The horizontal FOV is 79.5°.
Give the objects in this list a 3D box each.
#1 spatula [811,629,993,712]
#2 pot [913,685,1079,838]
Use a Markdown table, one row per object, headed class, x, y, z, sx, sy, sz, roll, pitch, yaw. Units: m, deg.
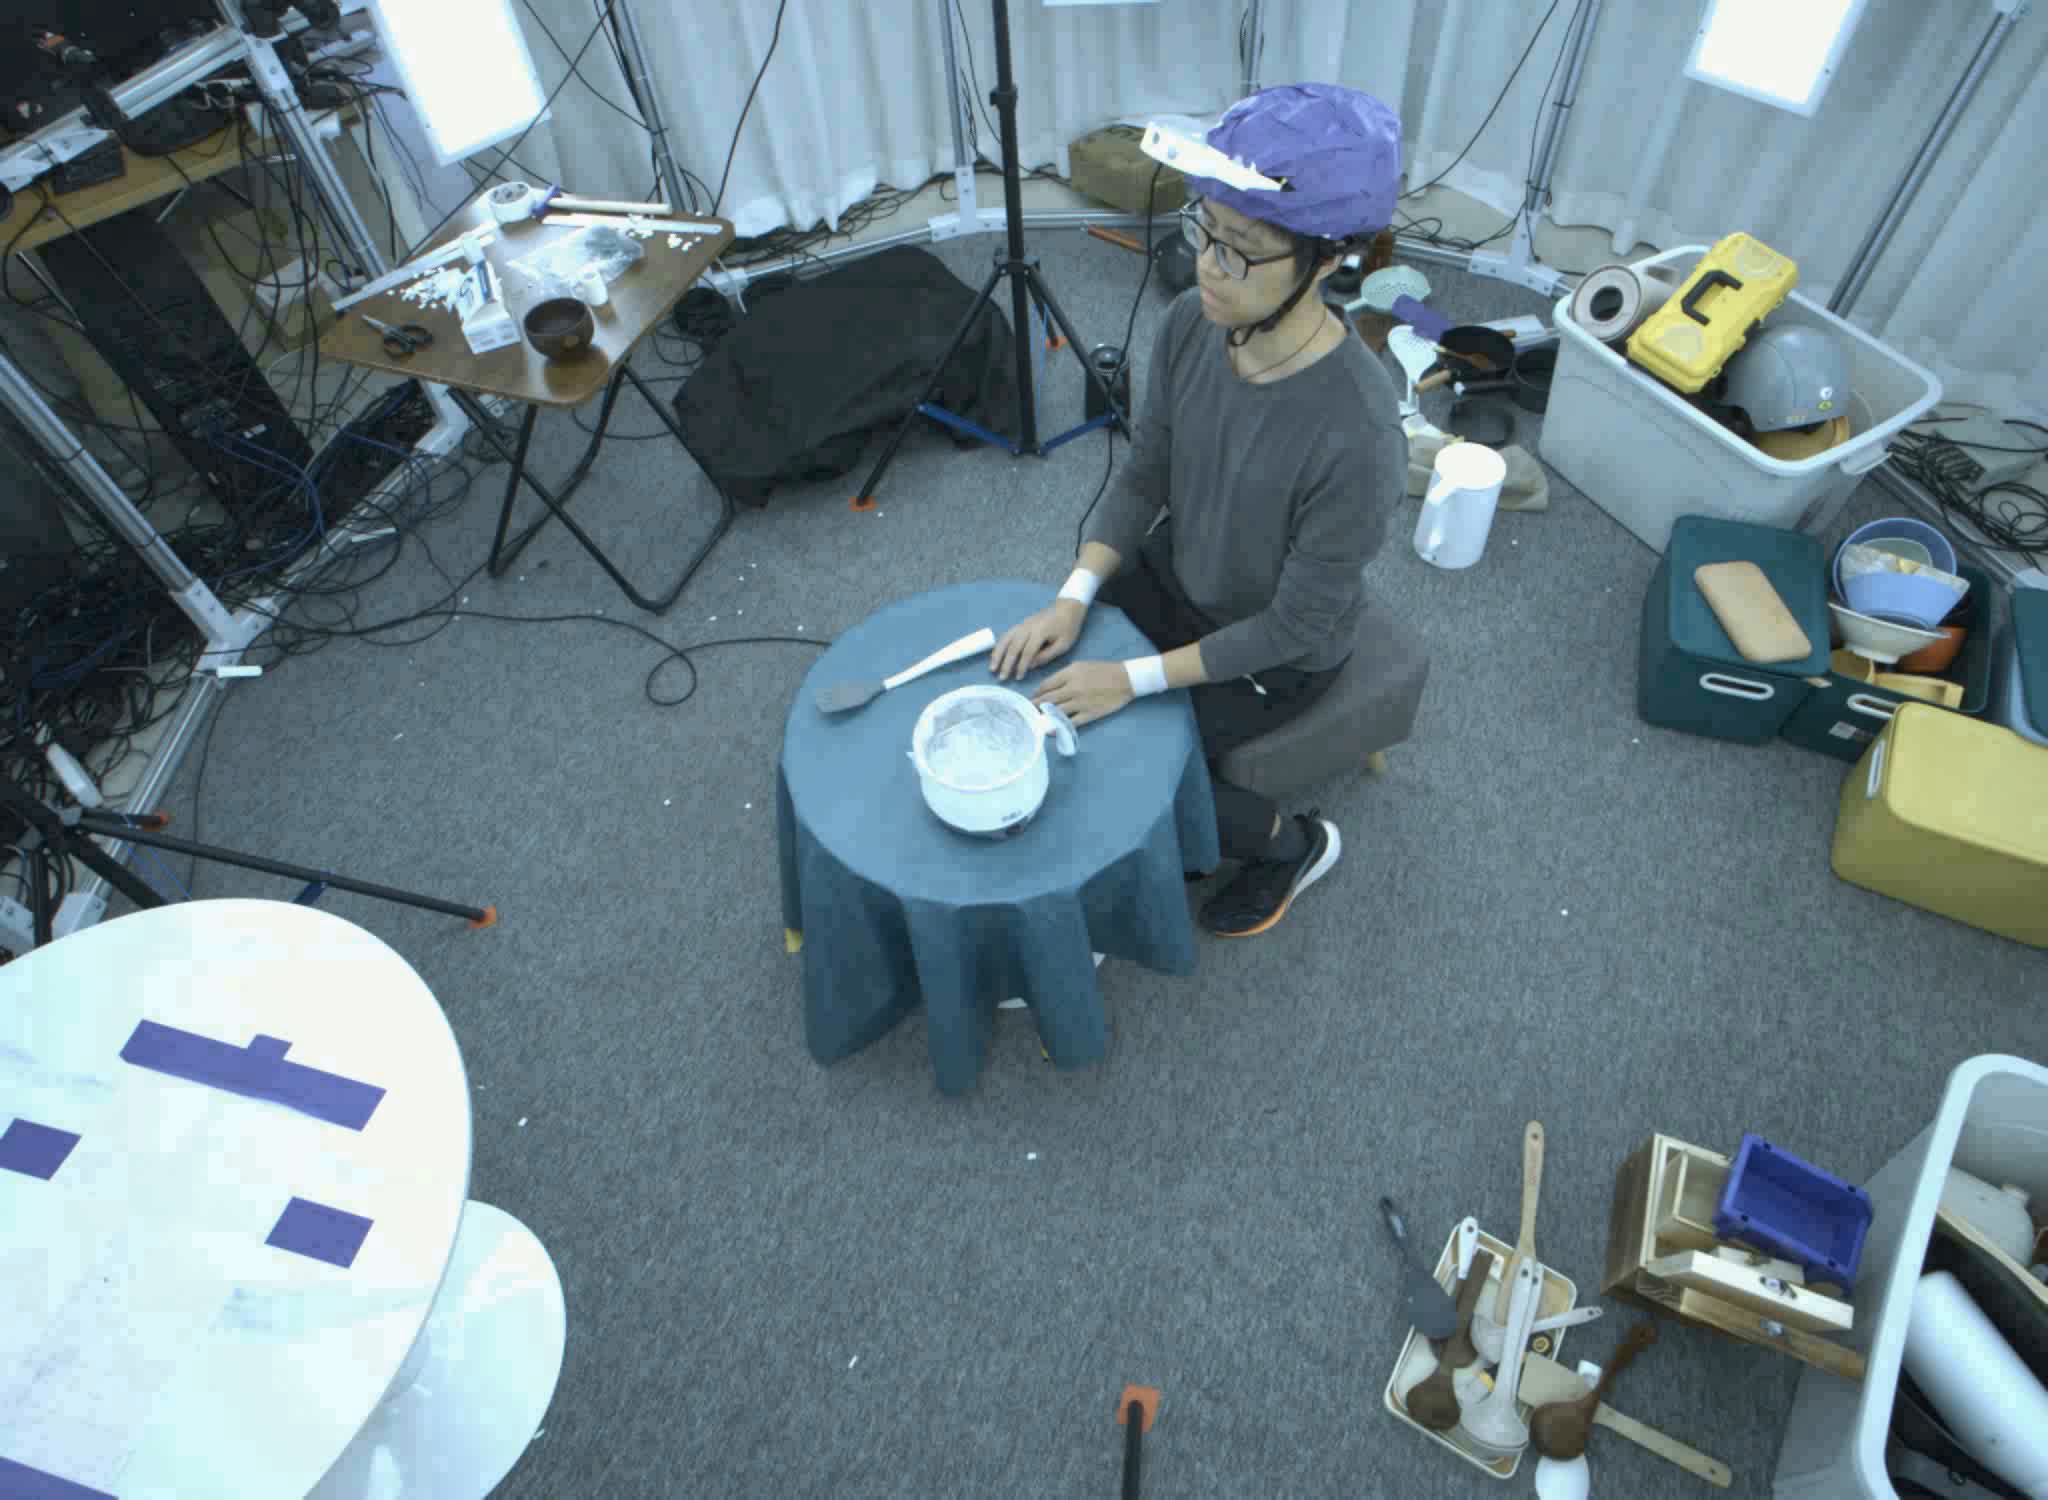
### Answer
| class | x | y | z | sx | sy | sz | roll | pitch | yaw |
| --- | --- | --- | --- | --- | --- | --- | --- | --- | --- |
| spatula | -0.183 | -0.120 | 1.866 | 0.290 | 0.032 | 0.057 | -22 | 60 | -15 |
| pot | -0.033 | 0.007 | 1.706 | 0.235 | 0.138 | 0.175 | -25 | 57 | -15 |
